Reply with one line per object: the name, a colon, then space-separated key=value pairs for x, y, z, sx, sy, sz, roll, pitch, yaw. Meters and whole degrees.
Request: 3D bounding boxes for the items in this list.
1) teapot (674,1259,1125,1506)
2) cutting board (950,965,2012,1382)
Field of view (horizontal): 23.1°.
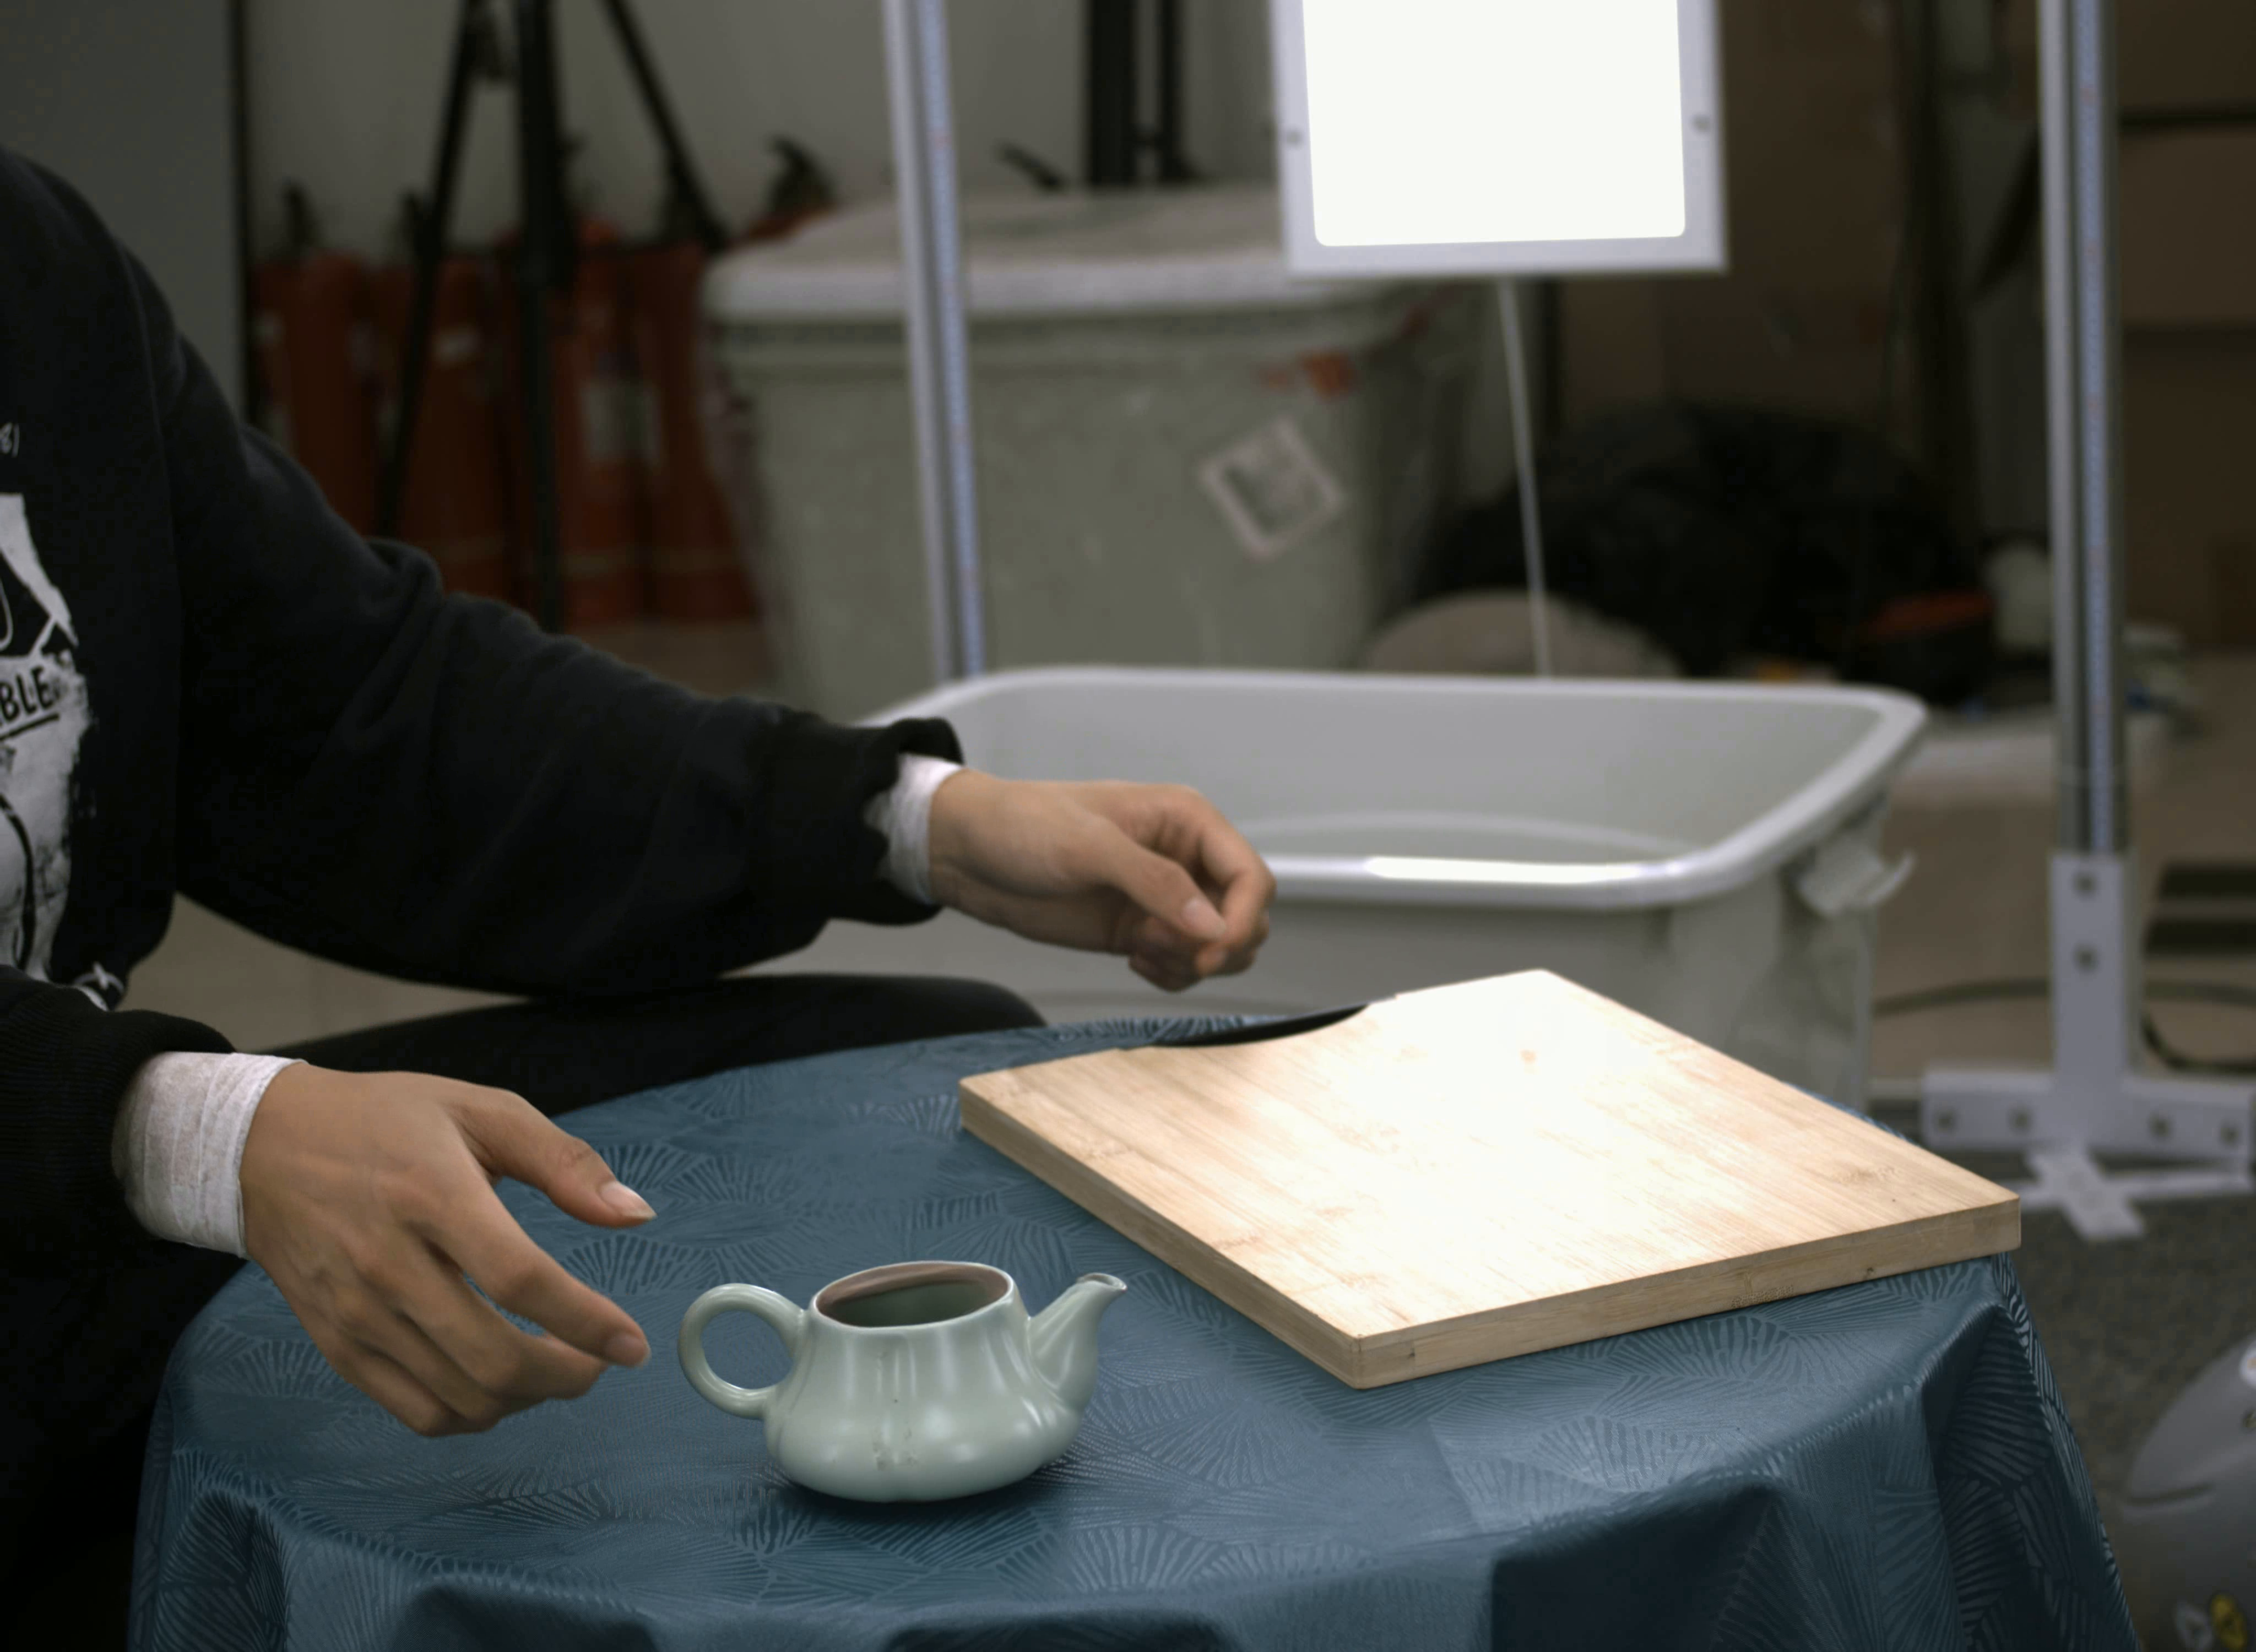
teapot: x=-0.067 y=0.165 z=1.642 sx=0.137 sy=0.061 sz=0.095 roll=-3 pitch=15 yaw=7
cutting board: x=0.112 y=0.113 z=1.880 sx=0.246 sy=0.023 sz=0.354 roll=-10 pitch=15 yaw=-21
